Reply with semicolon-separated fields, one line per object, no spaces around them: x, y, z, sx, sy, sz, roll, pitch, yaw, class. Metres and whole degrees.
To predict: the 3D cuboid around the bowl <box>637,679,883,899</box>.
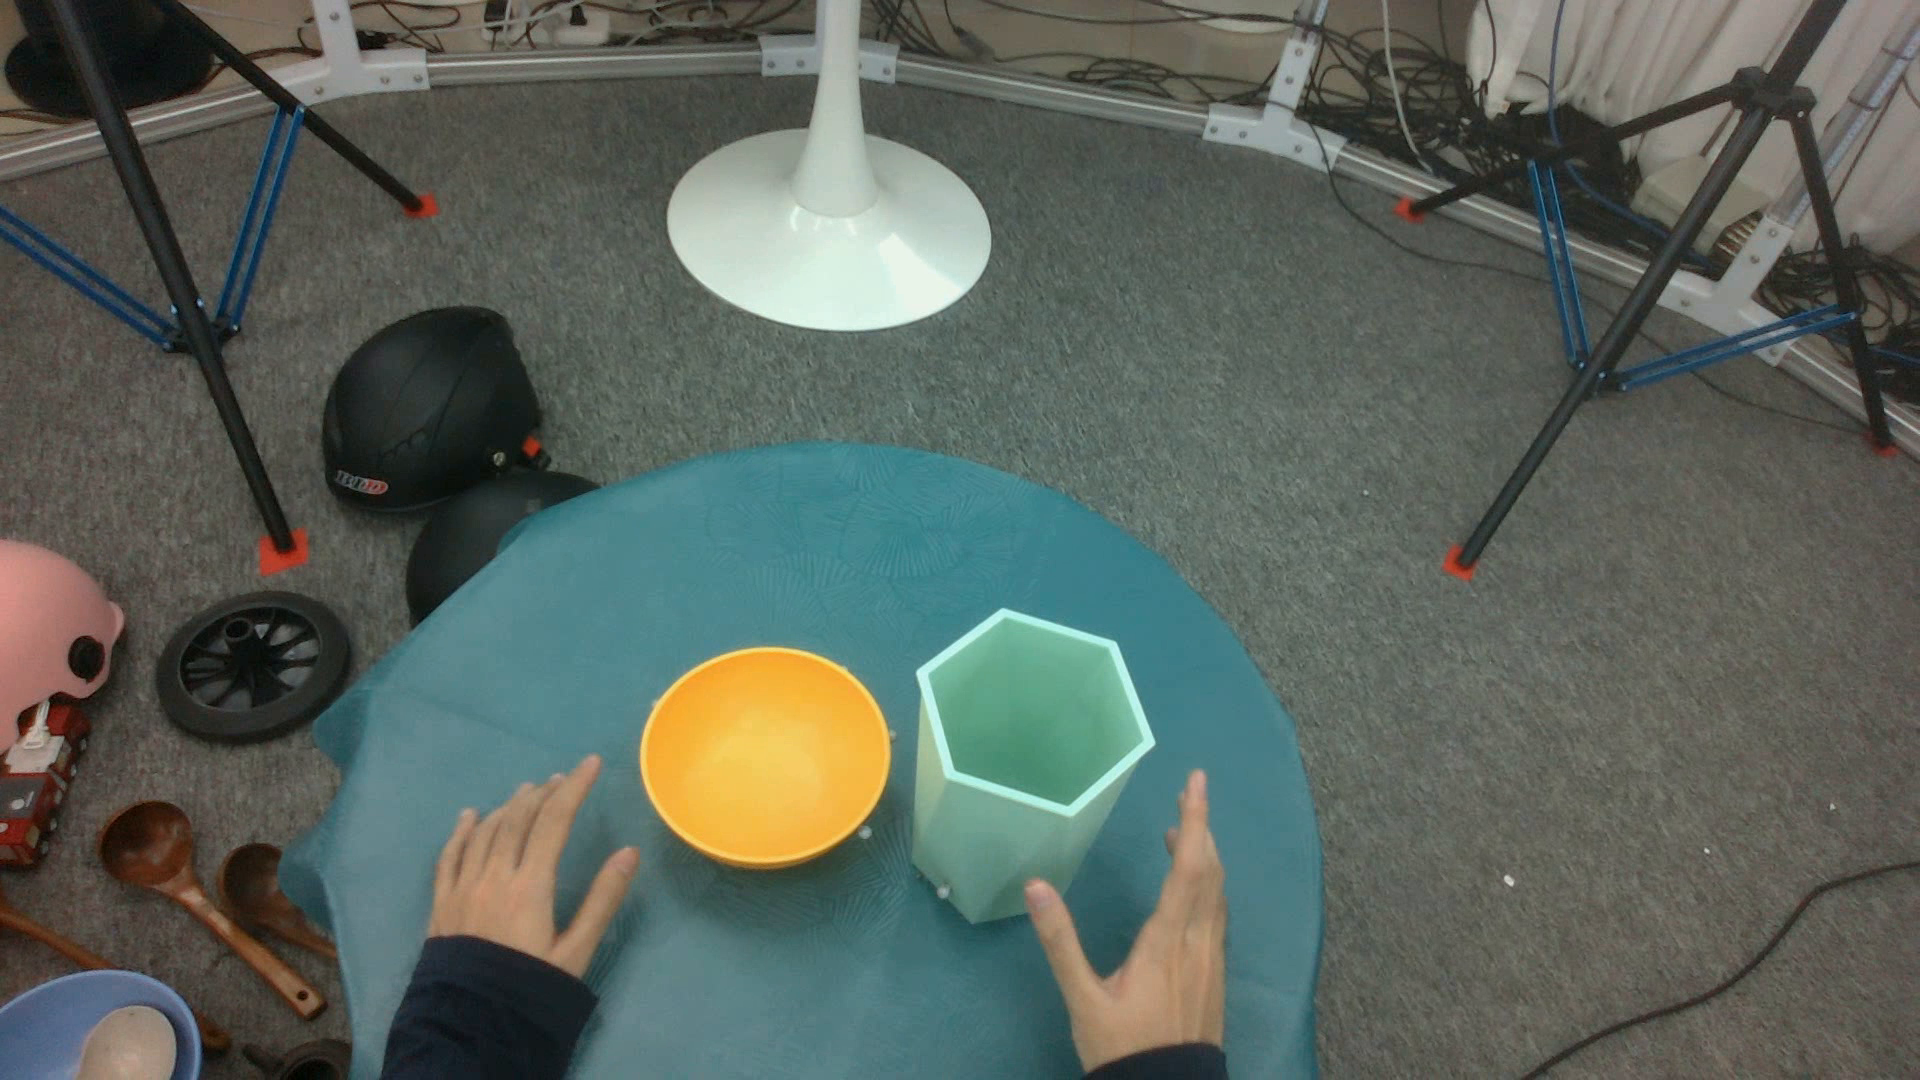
-0.120;0.160;0.836;0.145;0.060;0.146;3;50;-4;bowl

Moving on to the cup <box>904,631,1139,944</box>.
0.024;0.150;0.793;0.131;0.162;0.116;14;50;5;cup
